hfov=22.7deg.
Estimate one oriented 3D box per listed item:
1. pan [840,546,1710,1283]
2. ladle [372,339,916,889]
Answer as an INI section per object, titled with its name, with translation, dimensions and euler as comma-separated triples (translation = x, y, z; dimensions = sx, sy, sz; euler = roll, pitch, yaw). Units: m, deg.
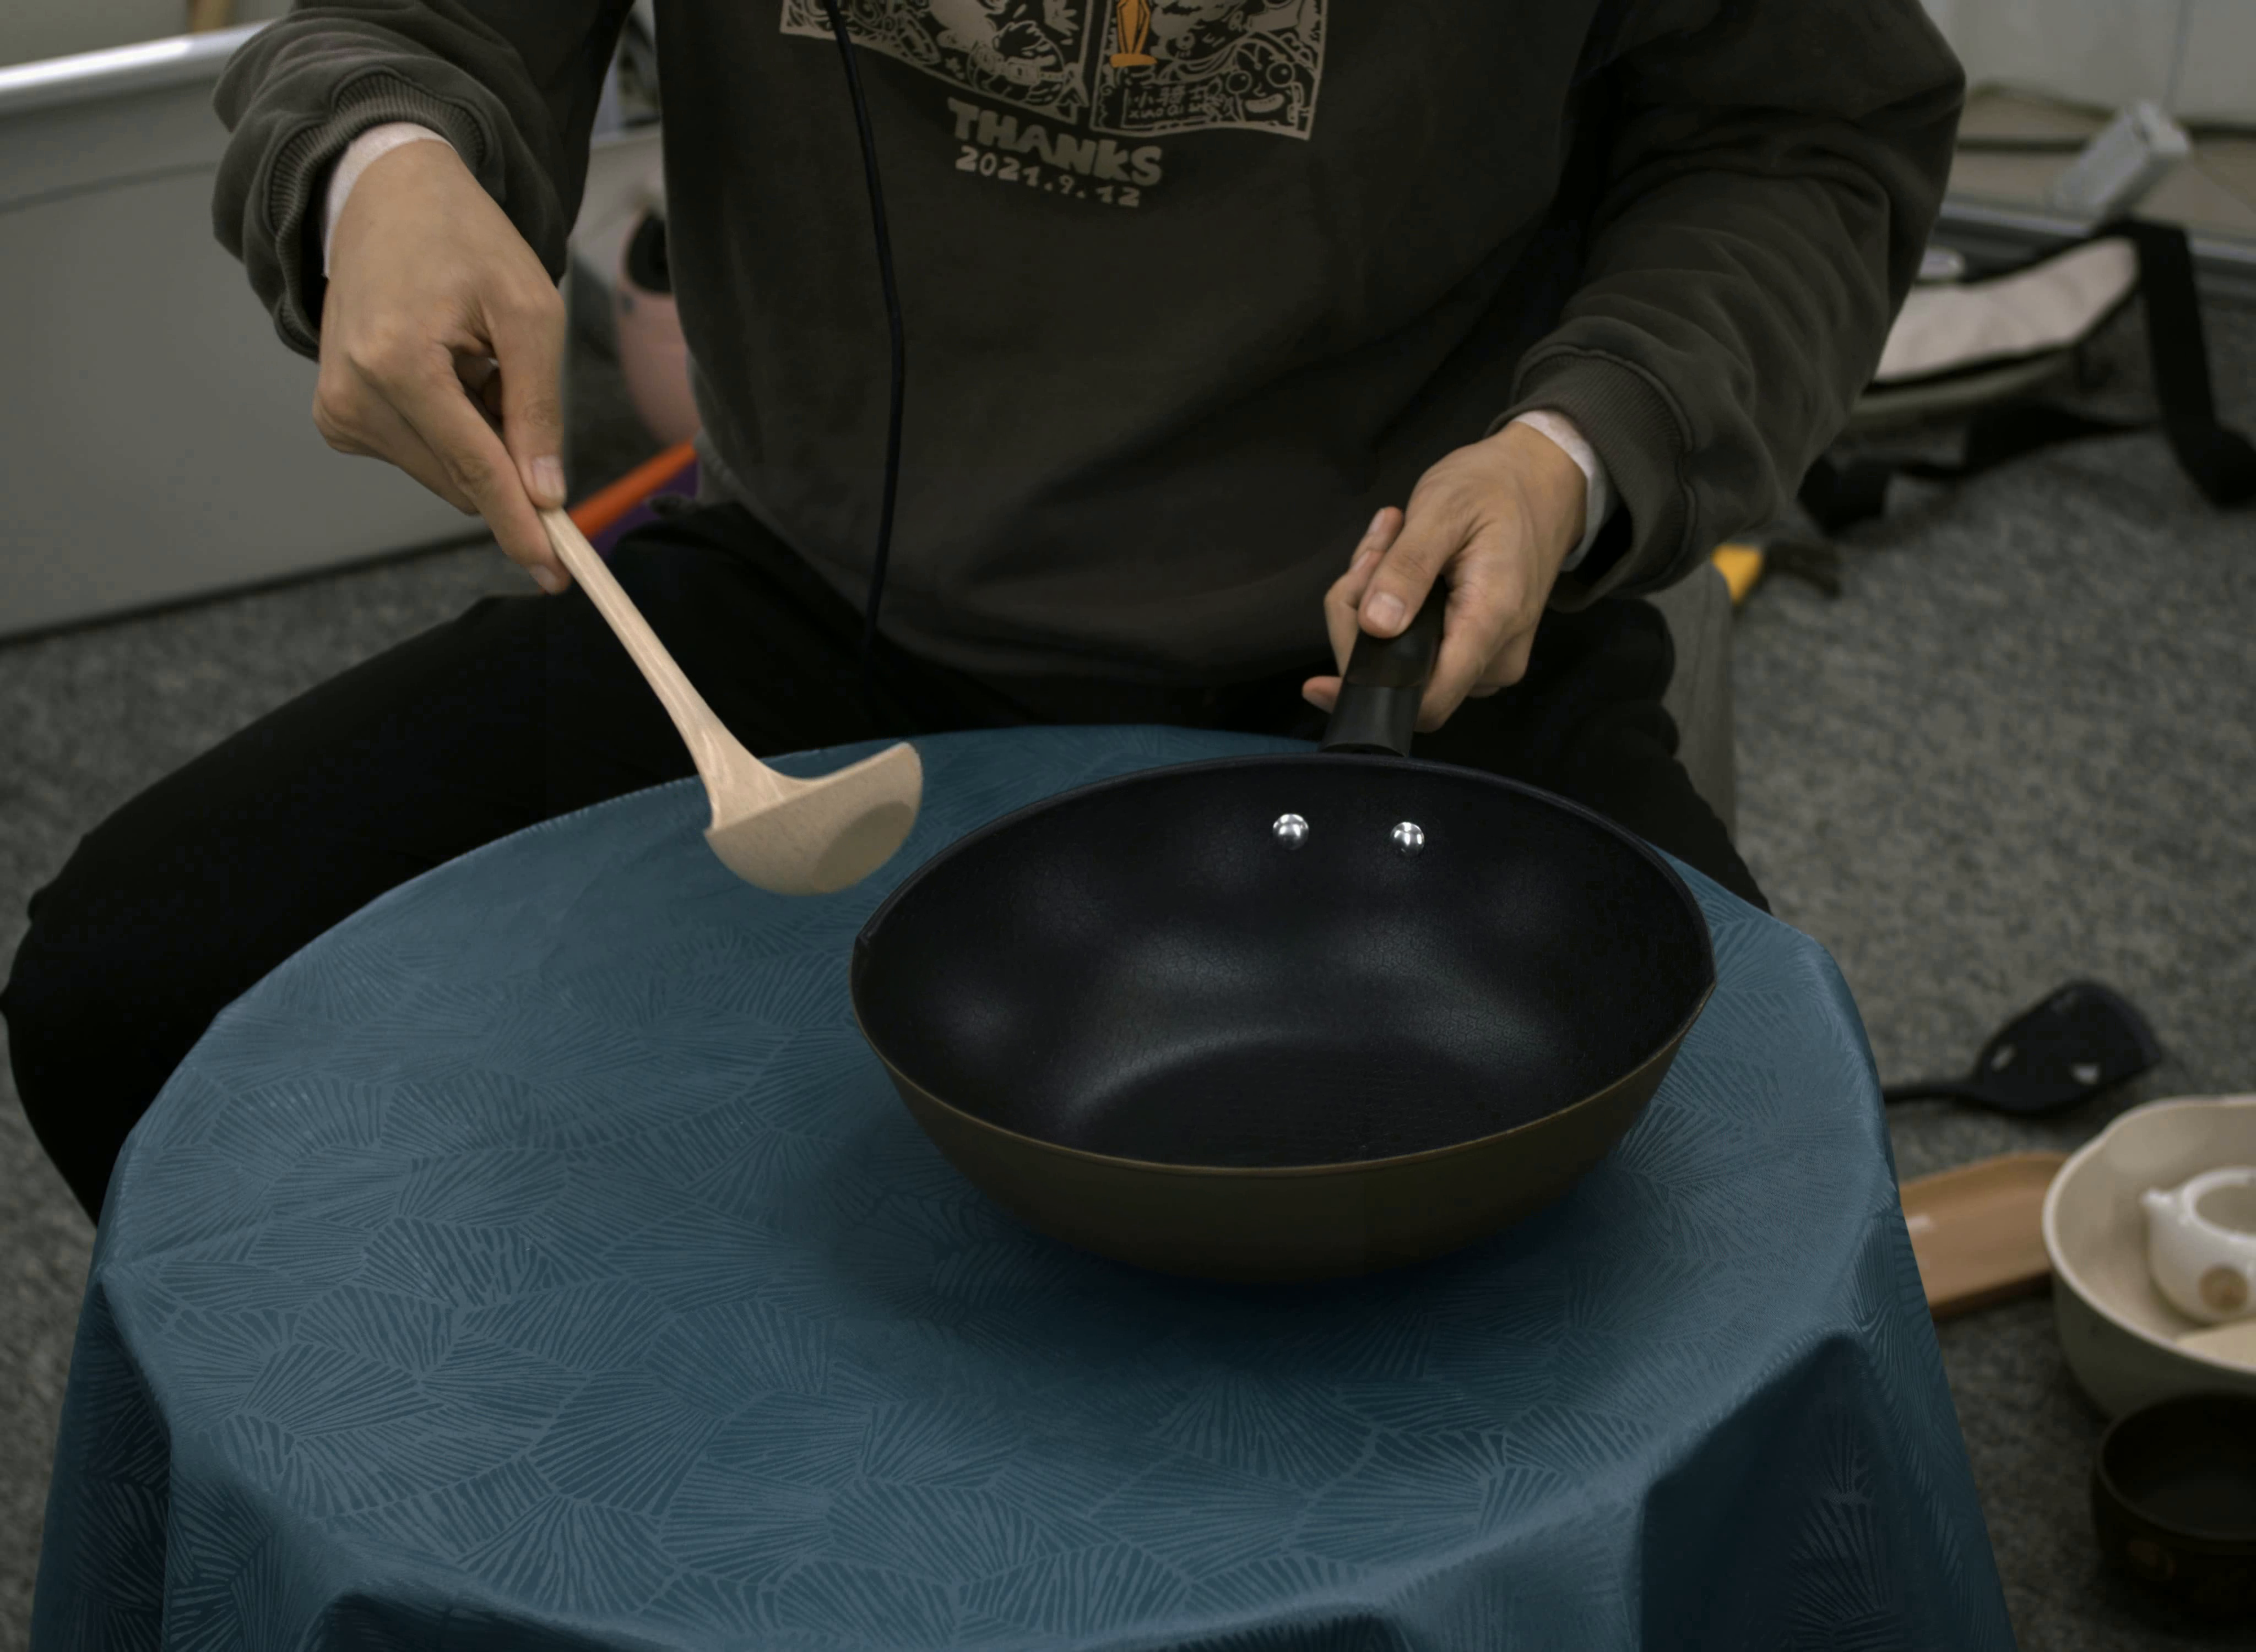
[pan]
translation = 0.068, 0.032, 1.936
dimensions = 0.286, 0.086, 0.471
euler = 3, 27, 12
[ladle]
translation = -0.161, -0.086, 1.799
dimensions = 0.073, 0.071, 0.256
euler = -28, 68, -32
